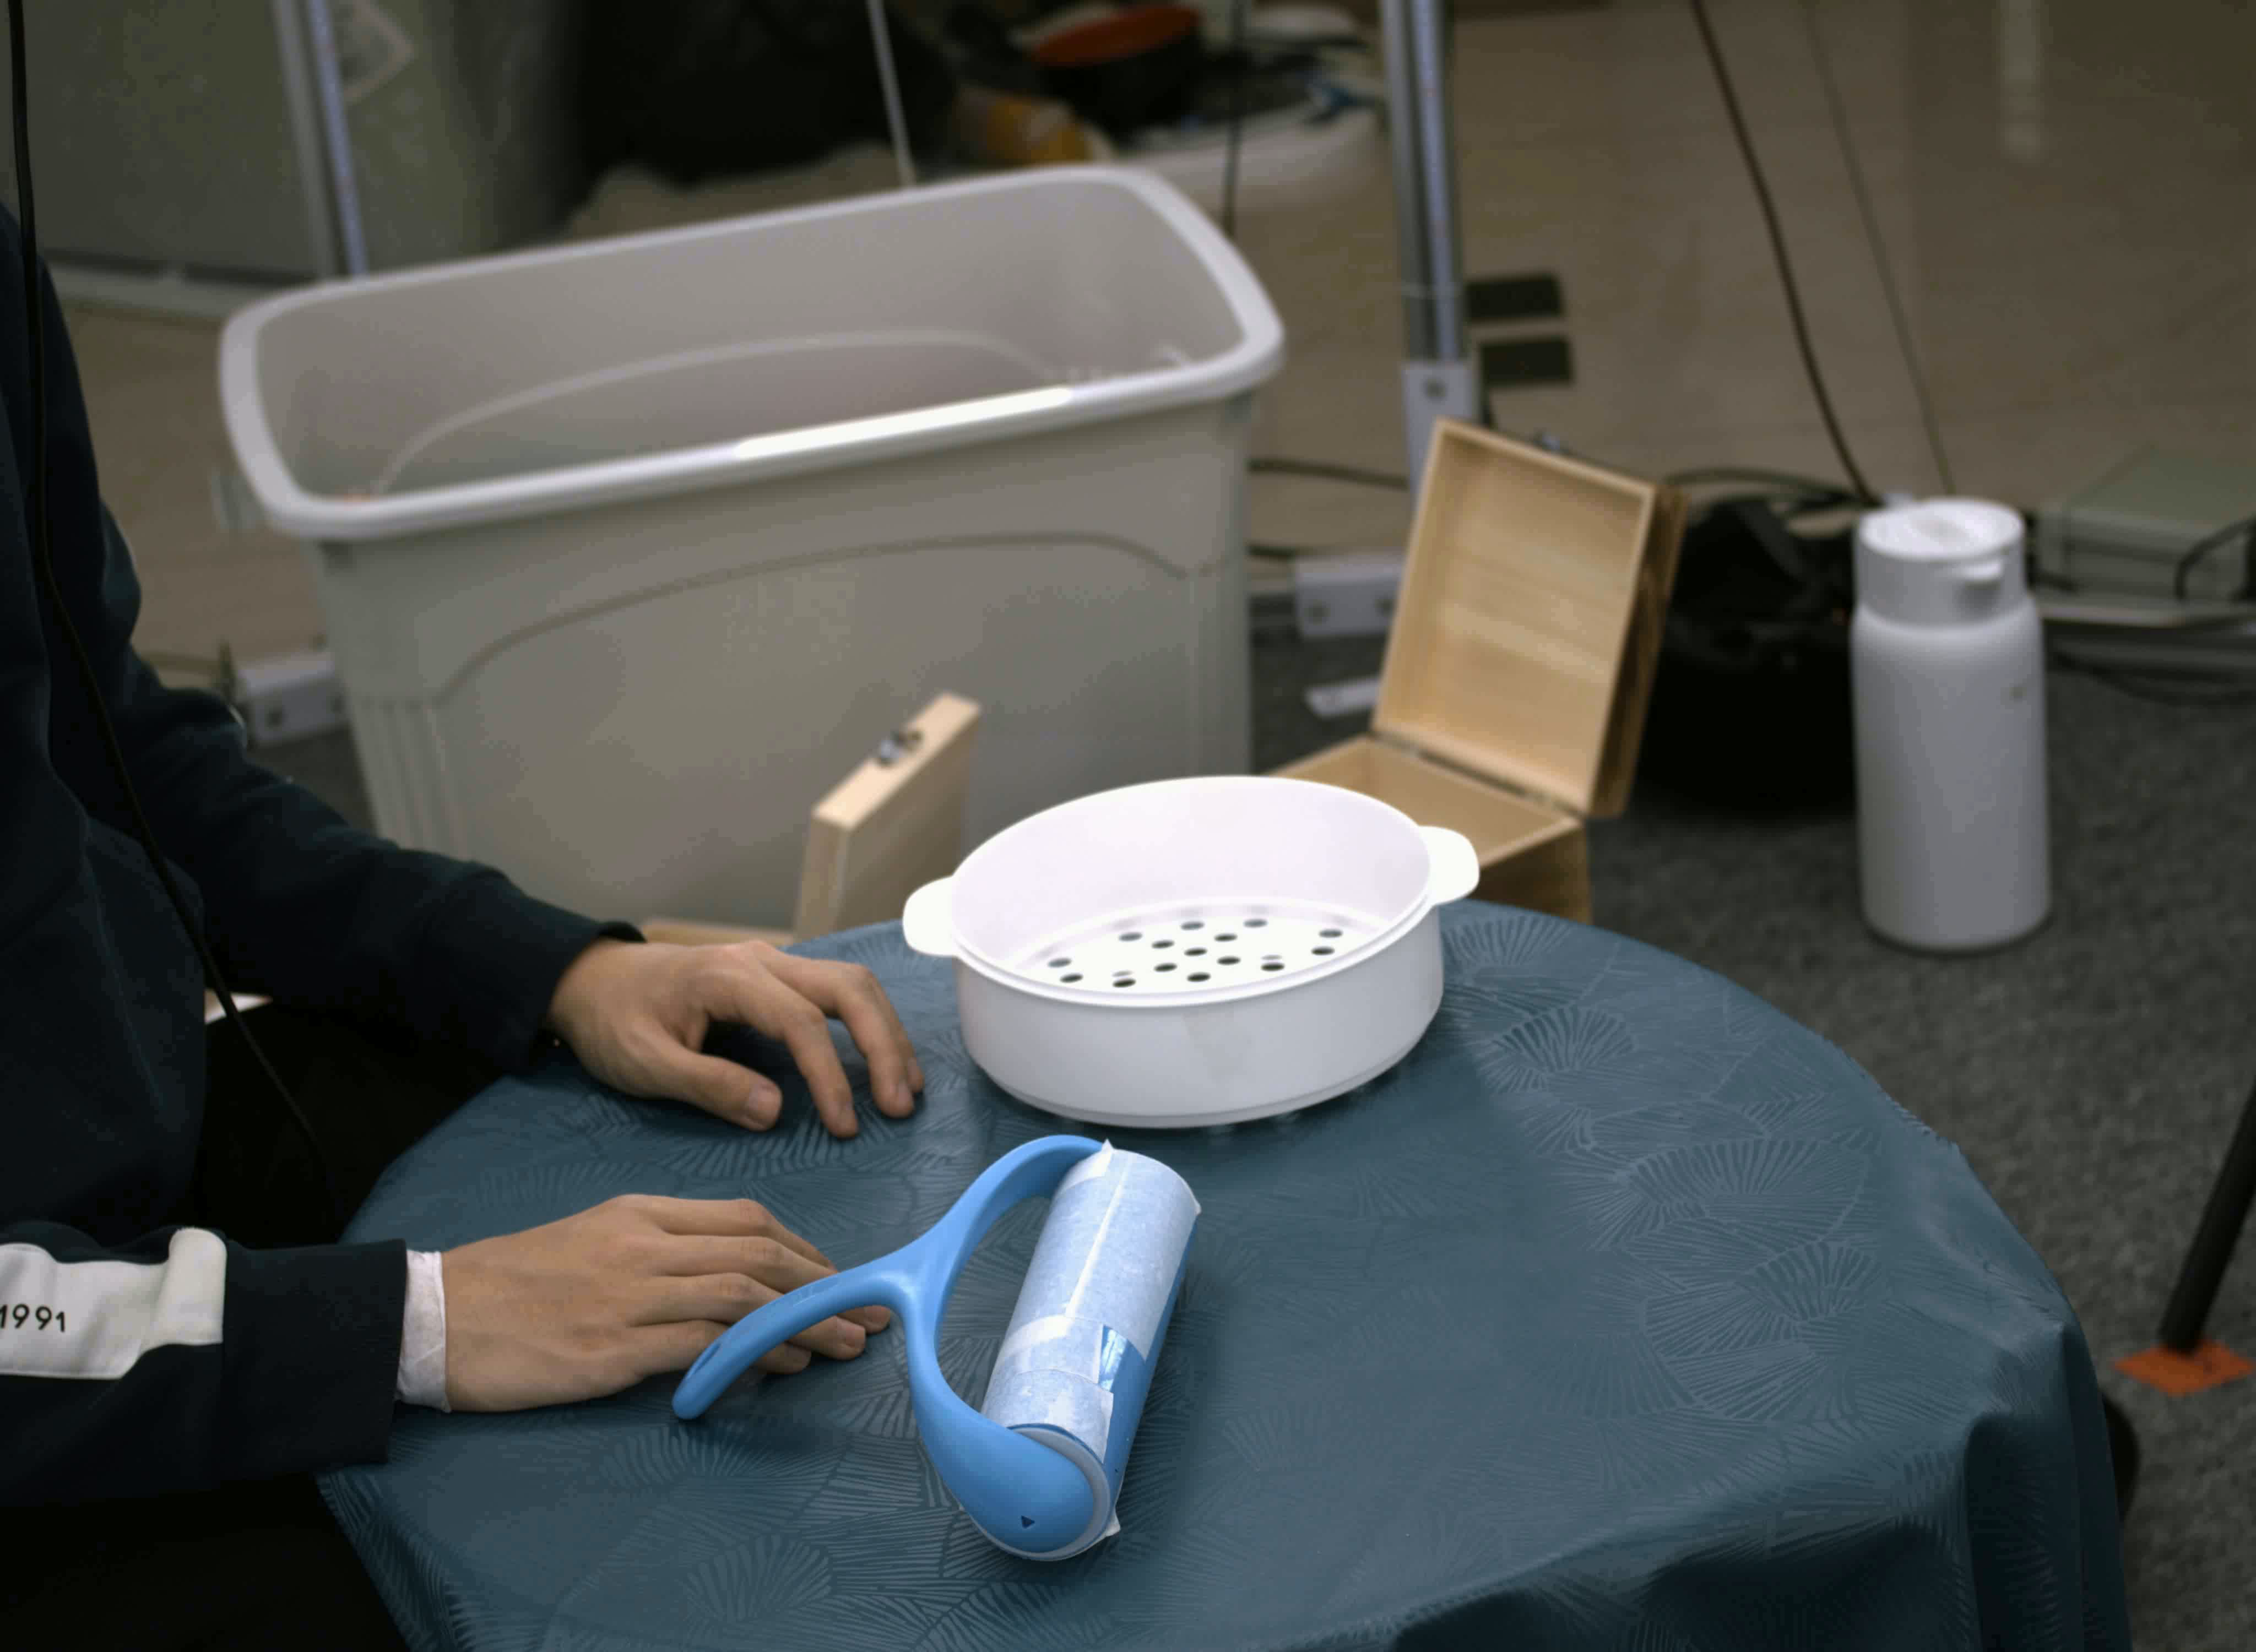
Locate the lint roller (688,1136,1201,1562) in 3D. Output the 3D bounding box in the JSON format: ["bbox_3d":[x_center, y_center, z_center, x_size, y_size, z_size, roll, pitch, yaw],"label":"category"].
[{"bbox_3d":[-0.071,0.185,1.998,0.180,0.069,0.225,-2,28,7],"label":"lint roller"}]

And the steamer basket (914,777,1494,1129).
[{"bbox_3d":[0.033,0.050,2.244,0.230,0.070,0.199,-7,24,1],"label":"steamer basket"}]
